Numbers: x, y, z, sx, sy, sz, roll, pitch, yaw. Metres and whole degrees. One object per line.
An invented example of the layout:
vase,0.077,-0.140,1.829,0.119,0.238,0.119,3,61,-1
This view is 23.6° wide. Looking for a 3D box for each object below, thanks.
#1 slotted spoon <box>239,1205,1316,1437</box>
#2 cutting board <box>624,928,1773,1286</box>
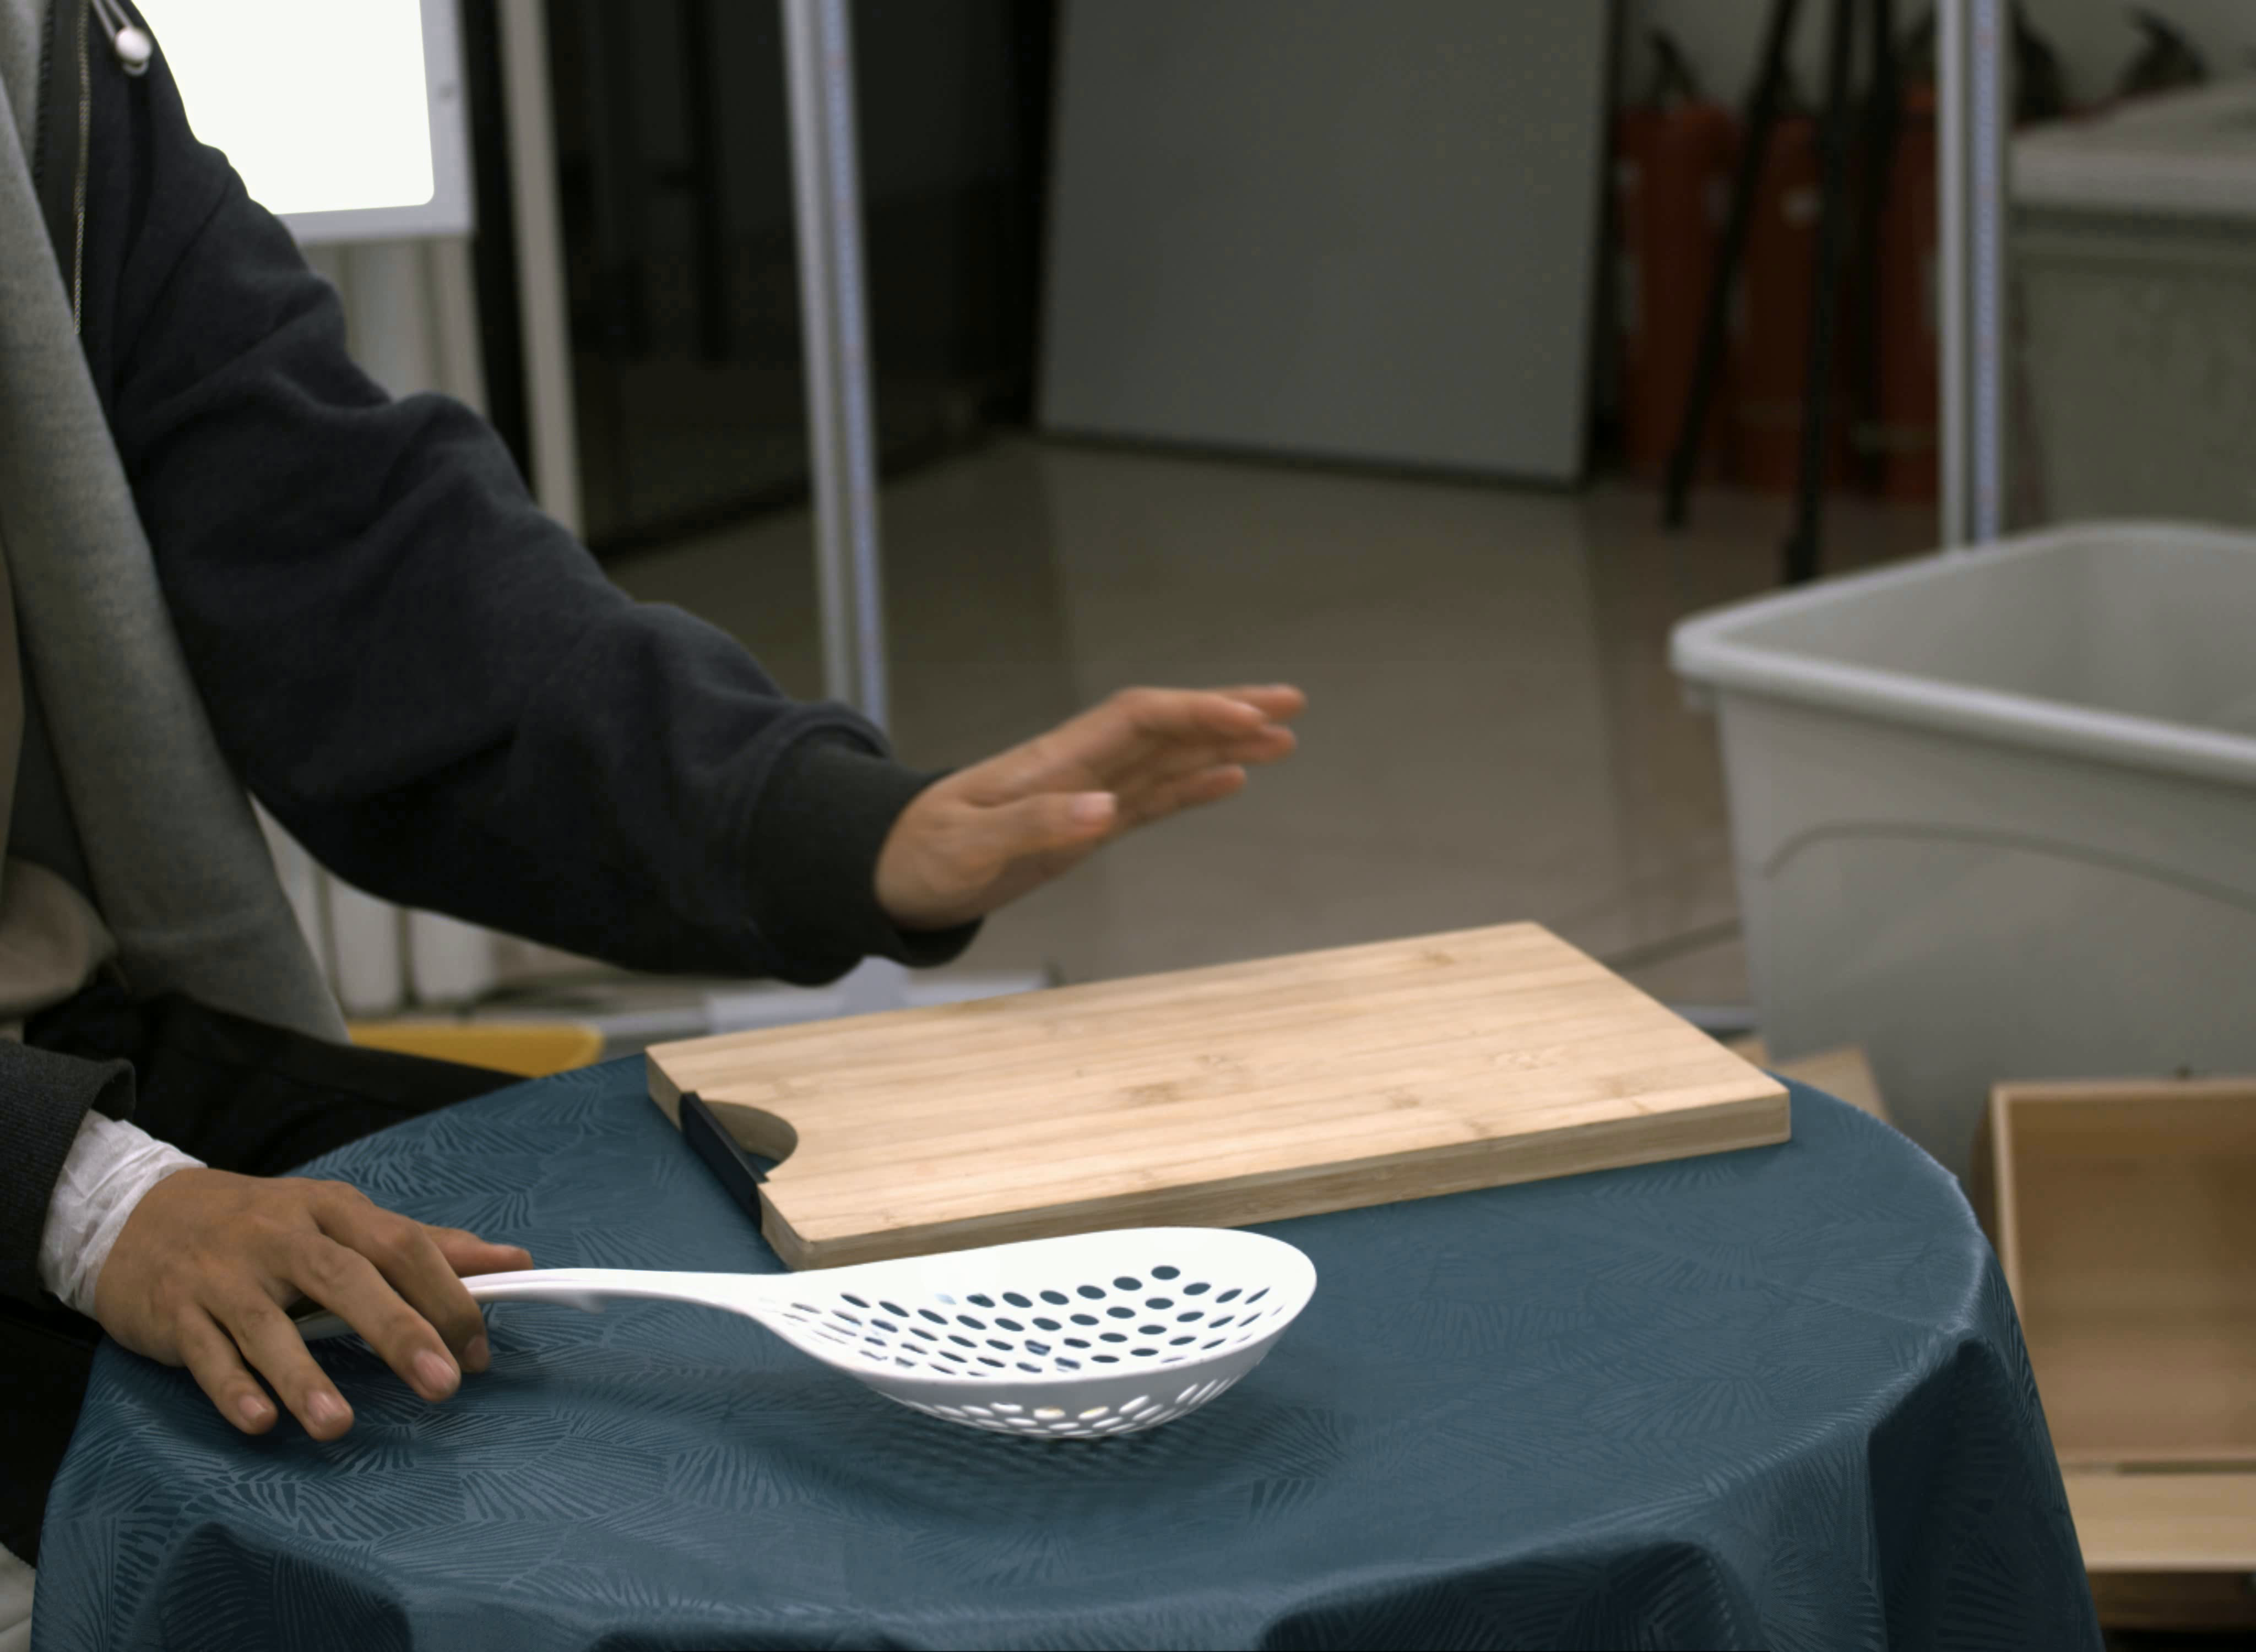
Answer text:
slotted spoon,-0.110,0.148,1.600,0.348,0.051,0.135,2,16,23
cutting board,0.020,0.094,1.840,0.342,0.024,0.253,-8,14,-16
